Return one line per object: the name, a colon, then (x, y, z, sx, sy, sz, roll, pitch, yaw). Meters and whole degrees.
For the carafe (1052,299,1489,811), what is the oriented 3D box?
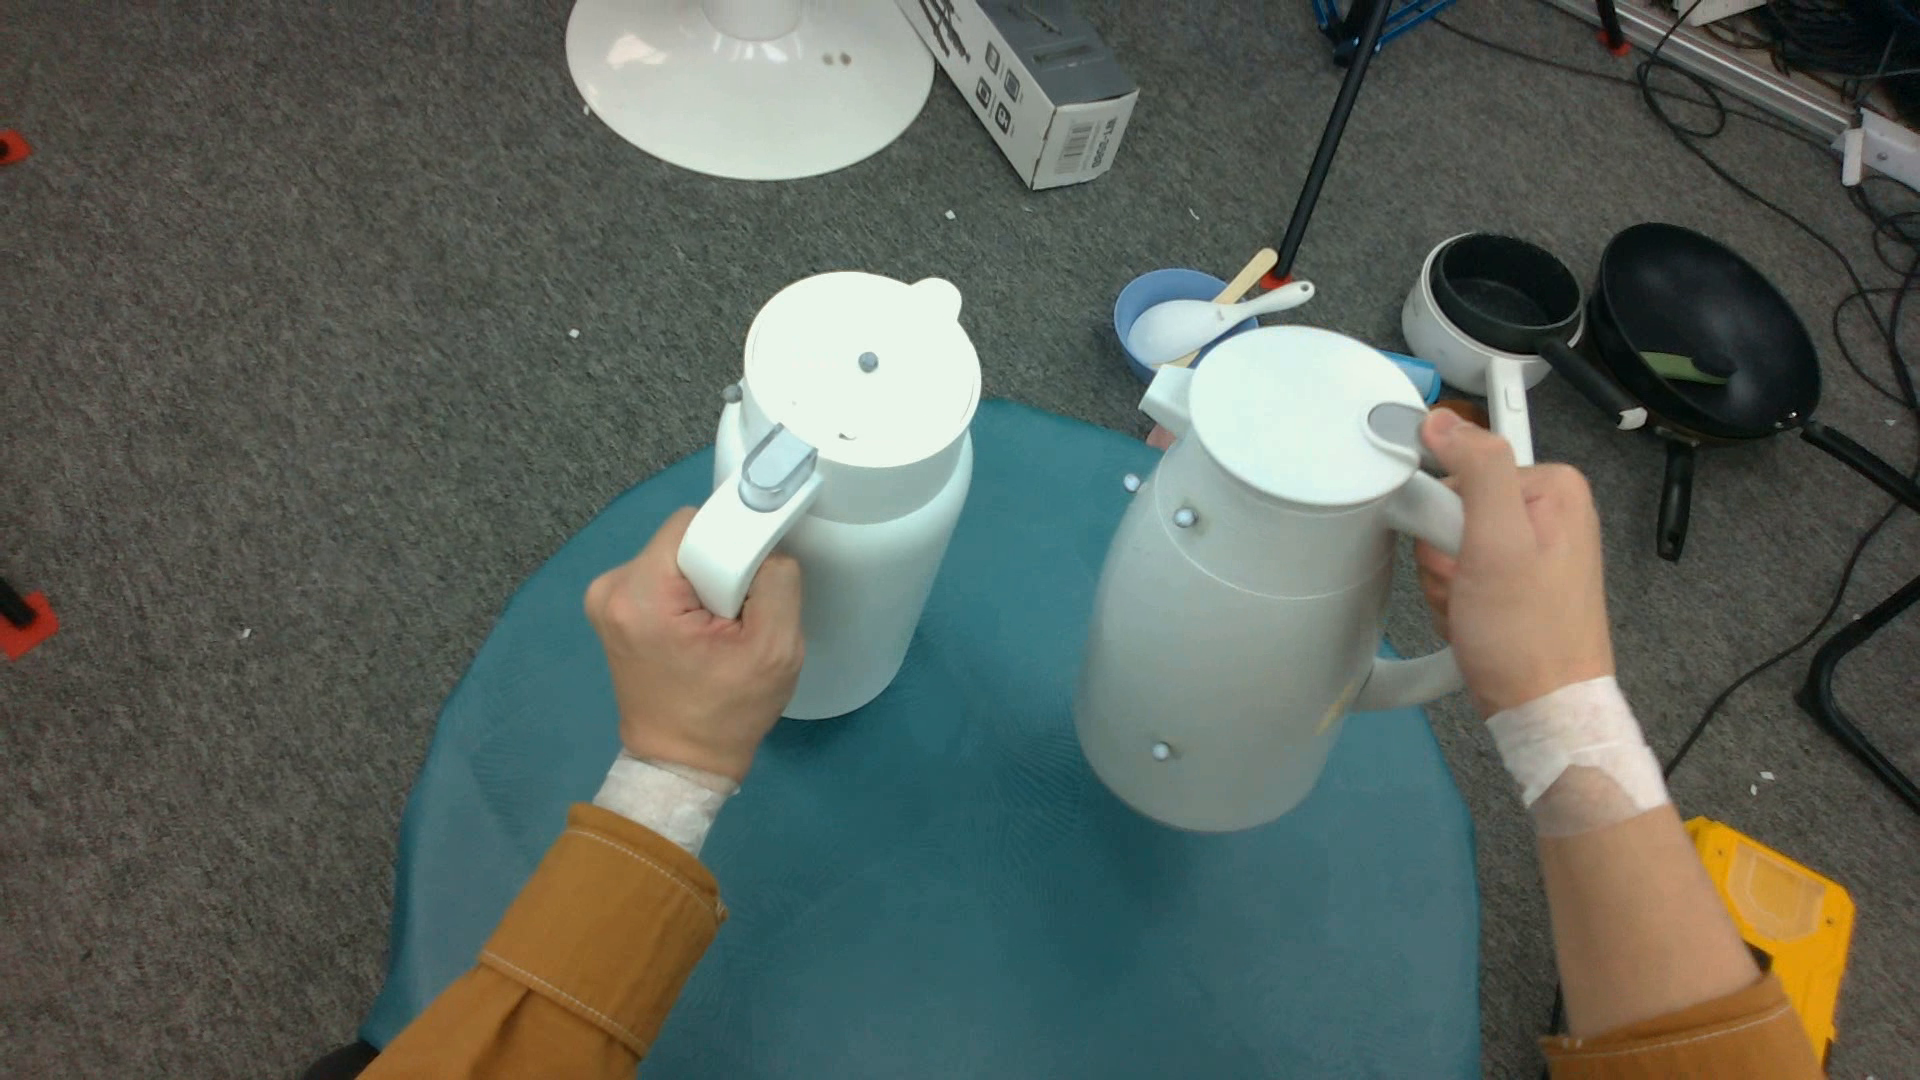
carafe: (0.137, 0.014, 0.611, 0.167, 0.247, 0.133, 21, 55, 11)

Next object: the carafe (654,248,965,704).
carafe: (-0.081, -0.007, 0.668, 0.124, 0.267, 0.173, 35, 60, 4)
